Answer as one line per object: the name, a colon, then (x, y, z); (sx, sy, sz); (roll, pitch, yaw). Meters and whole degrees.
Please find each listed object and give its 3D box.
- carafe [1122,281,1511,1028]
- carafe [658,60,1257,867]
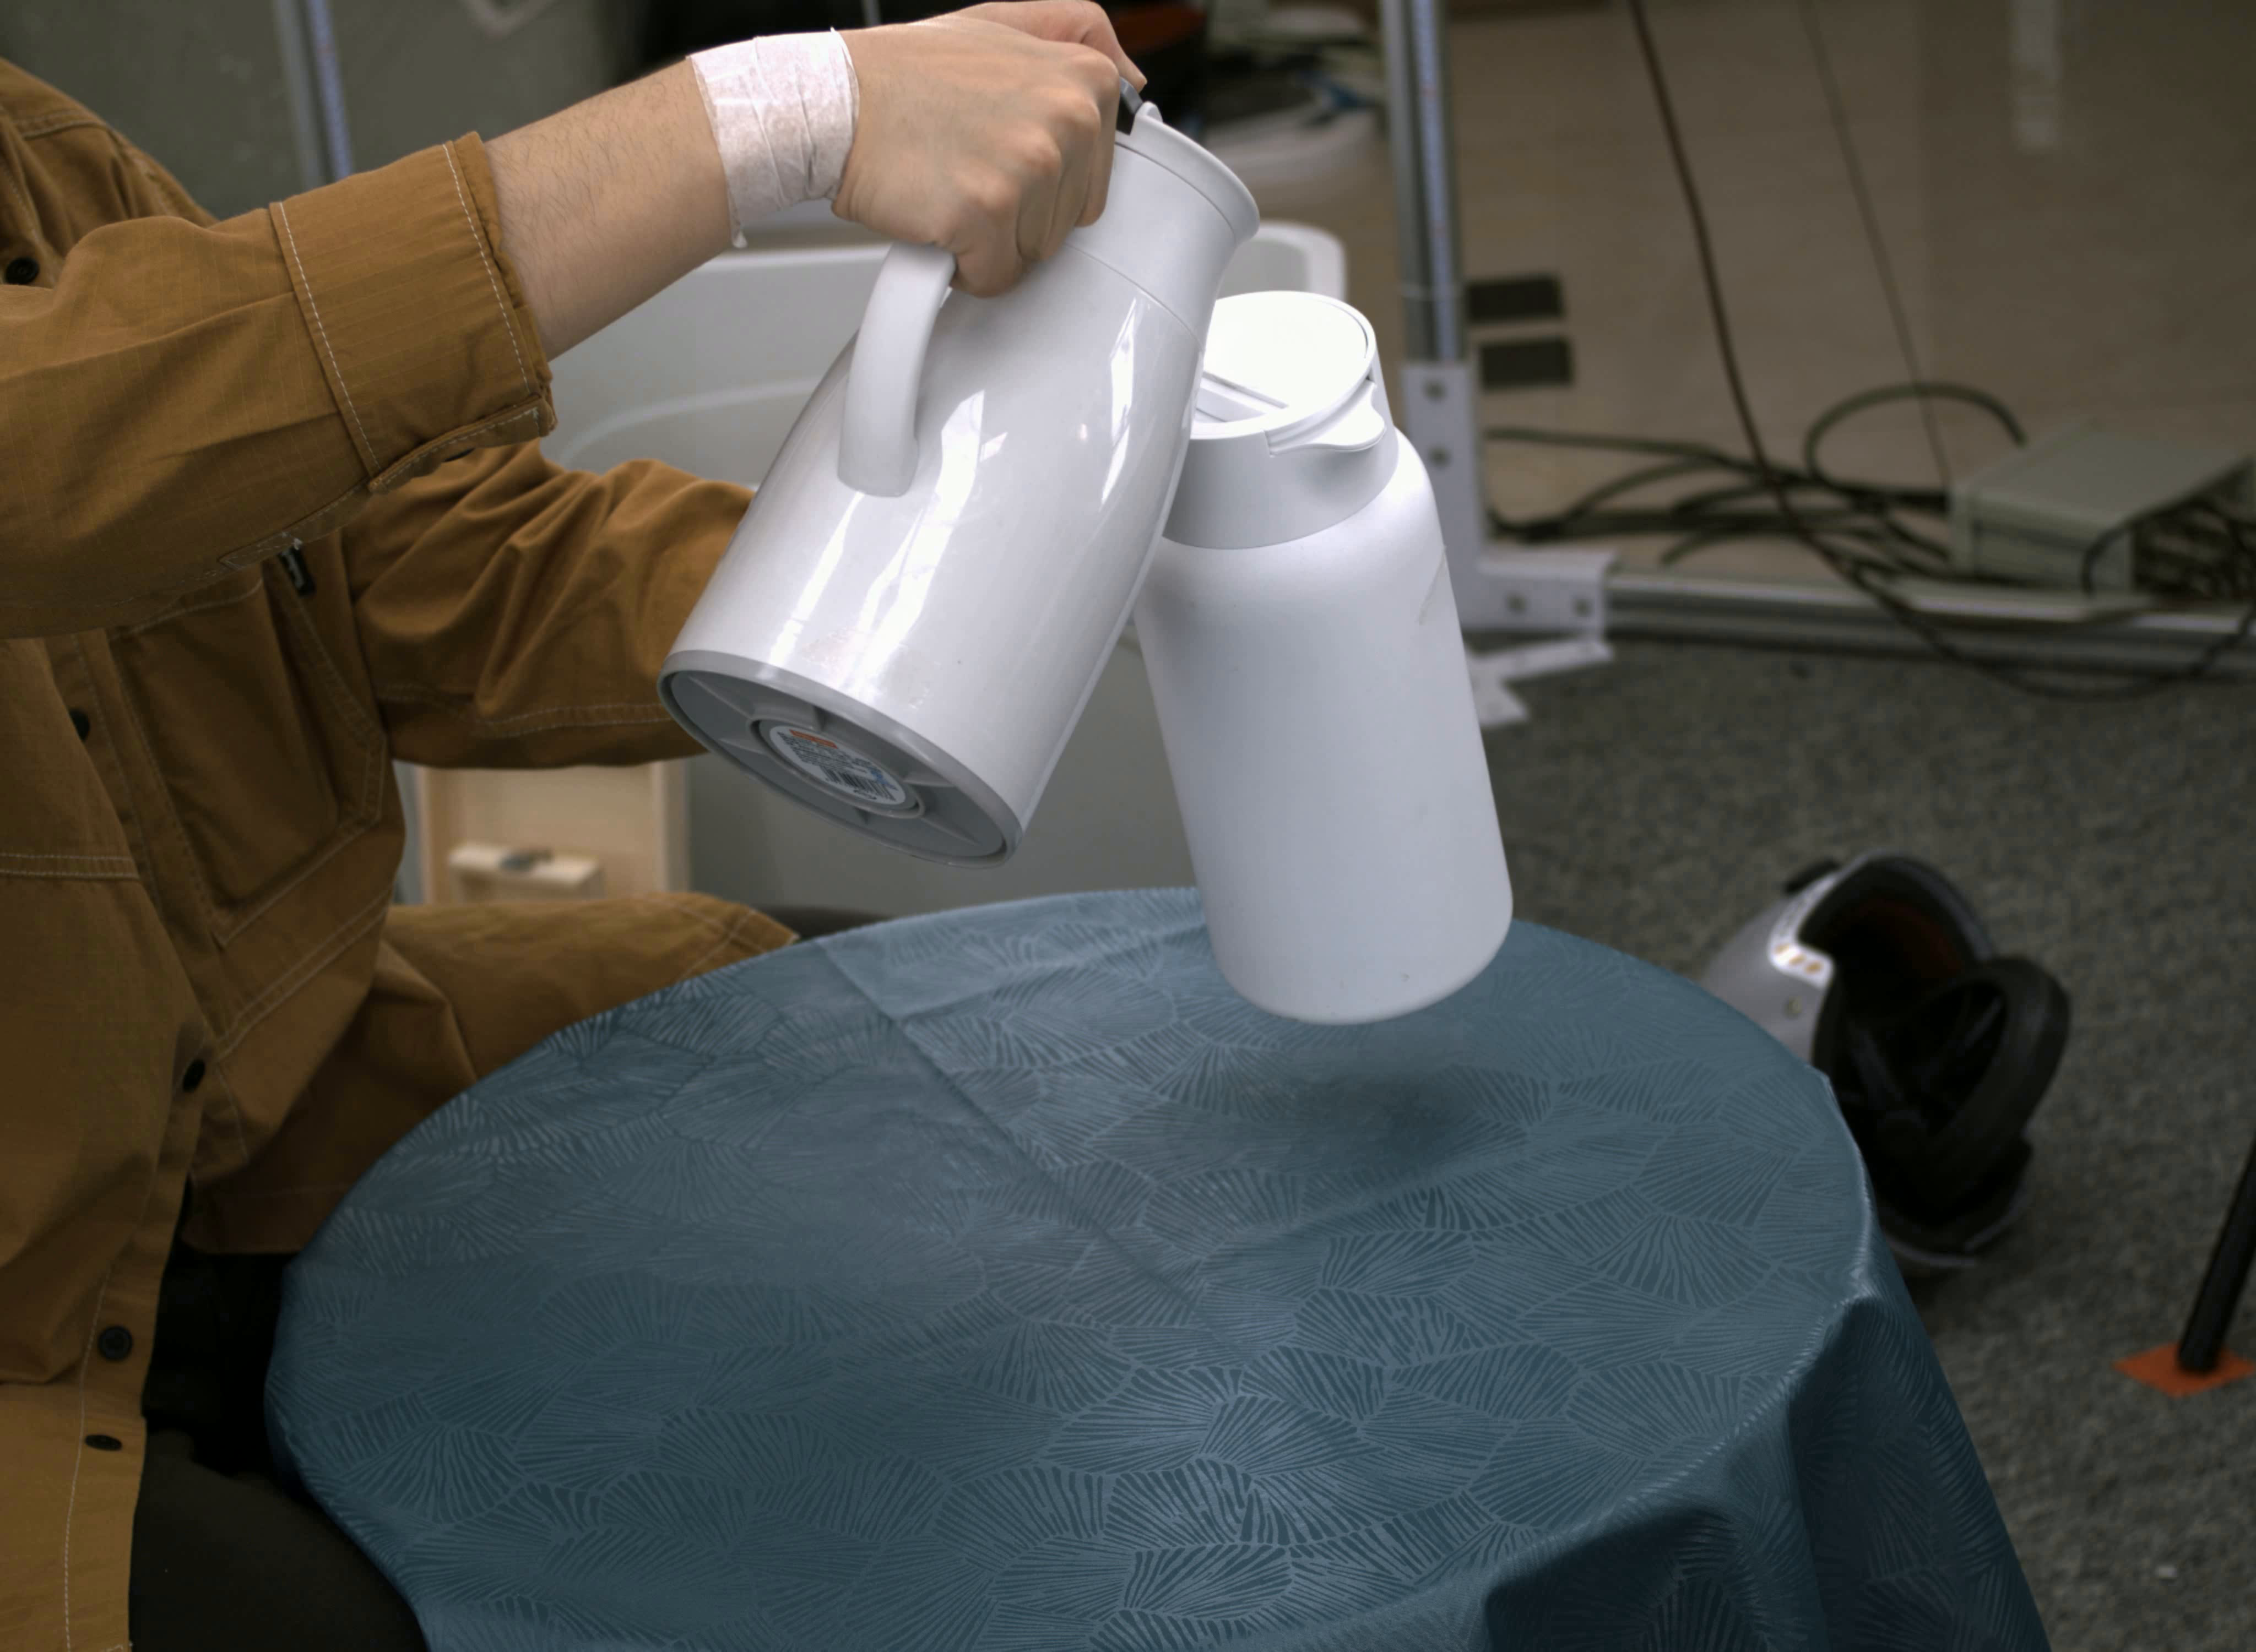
carafe: (0.053, -0.066, 2.105); (0.123, 0.274, 0.171); (-38, 42, -26)
carafe: (-0.050, -0.133, 1.887); (0.131, 0.170, 0.247); (19, 75, 25)
